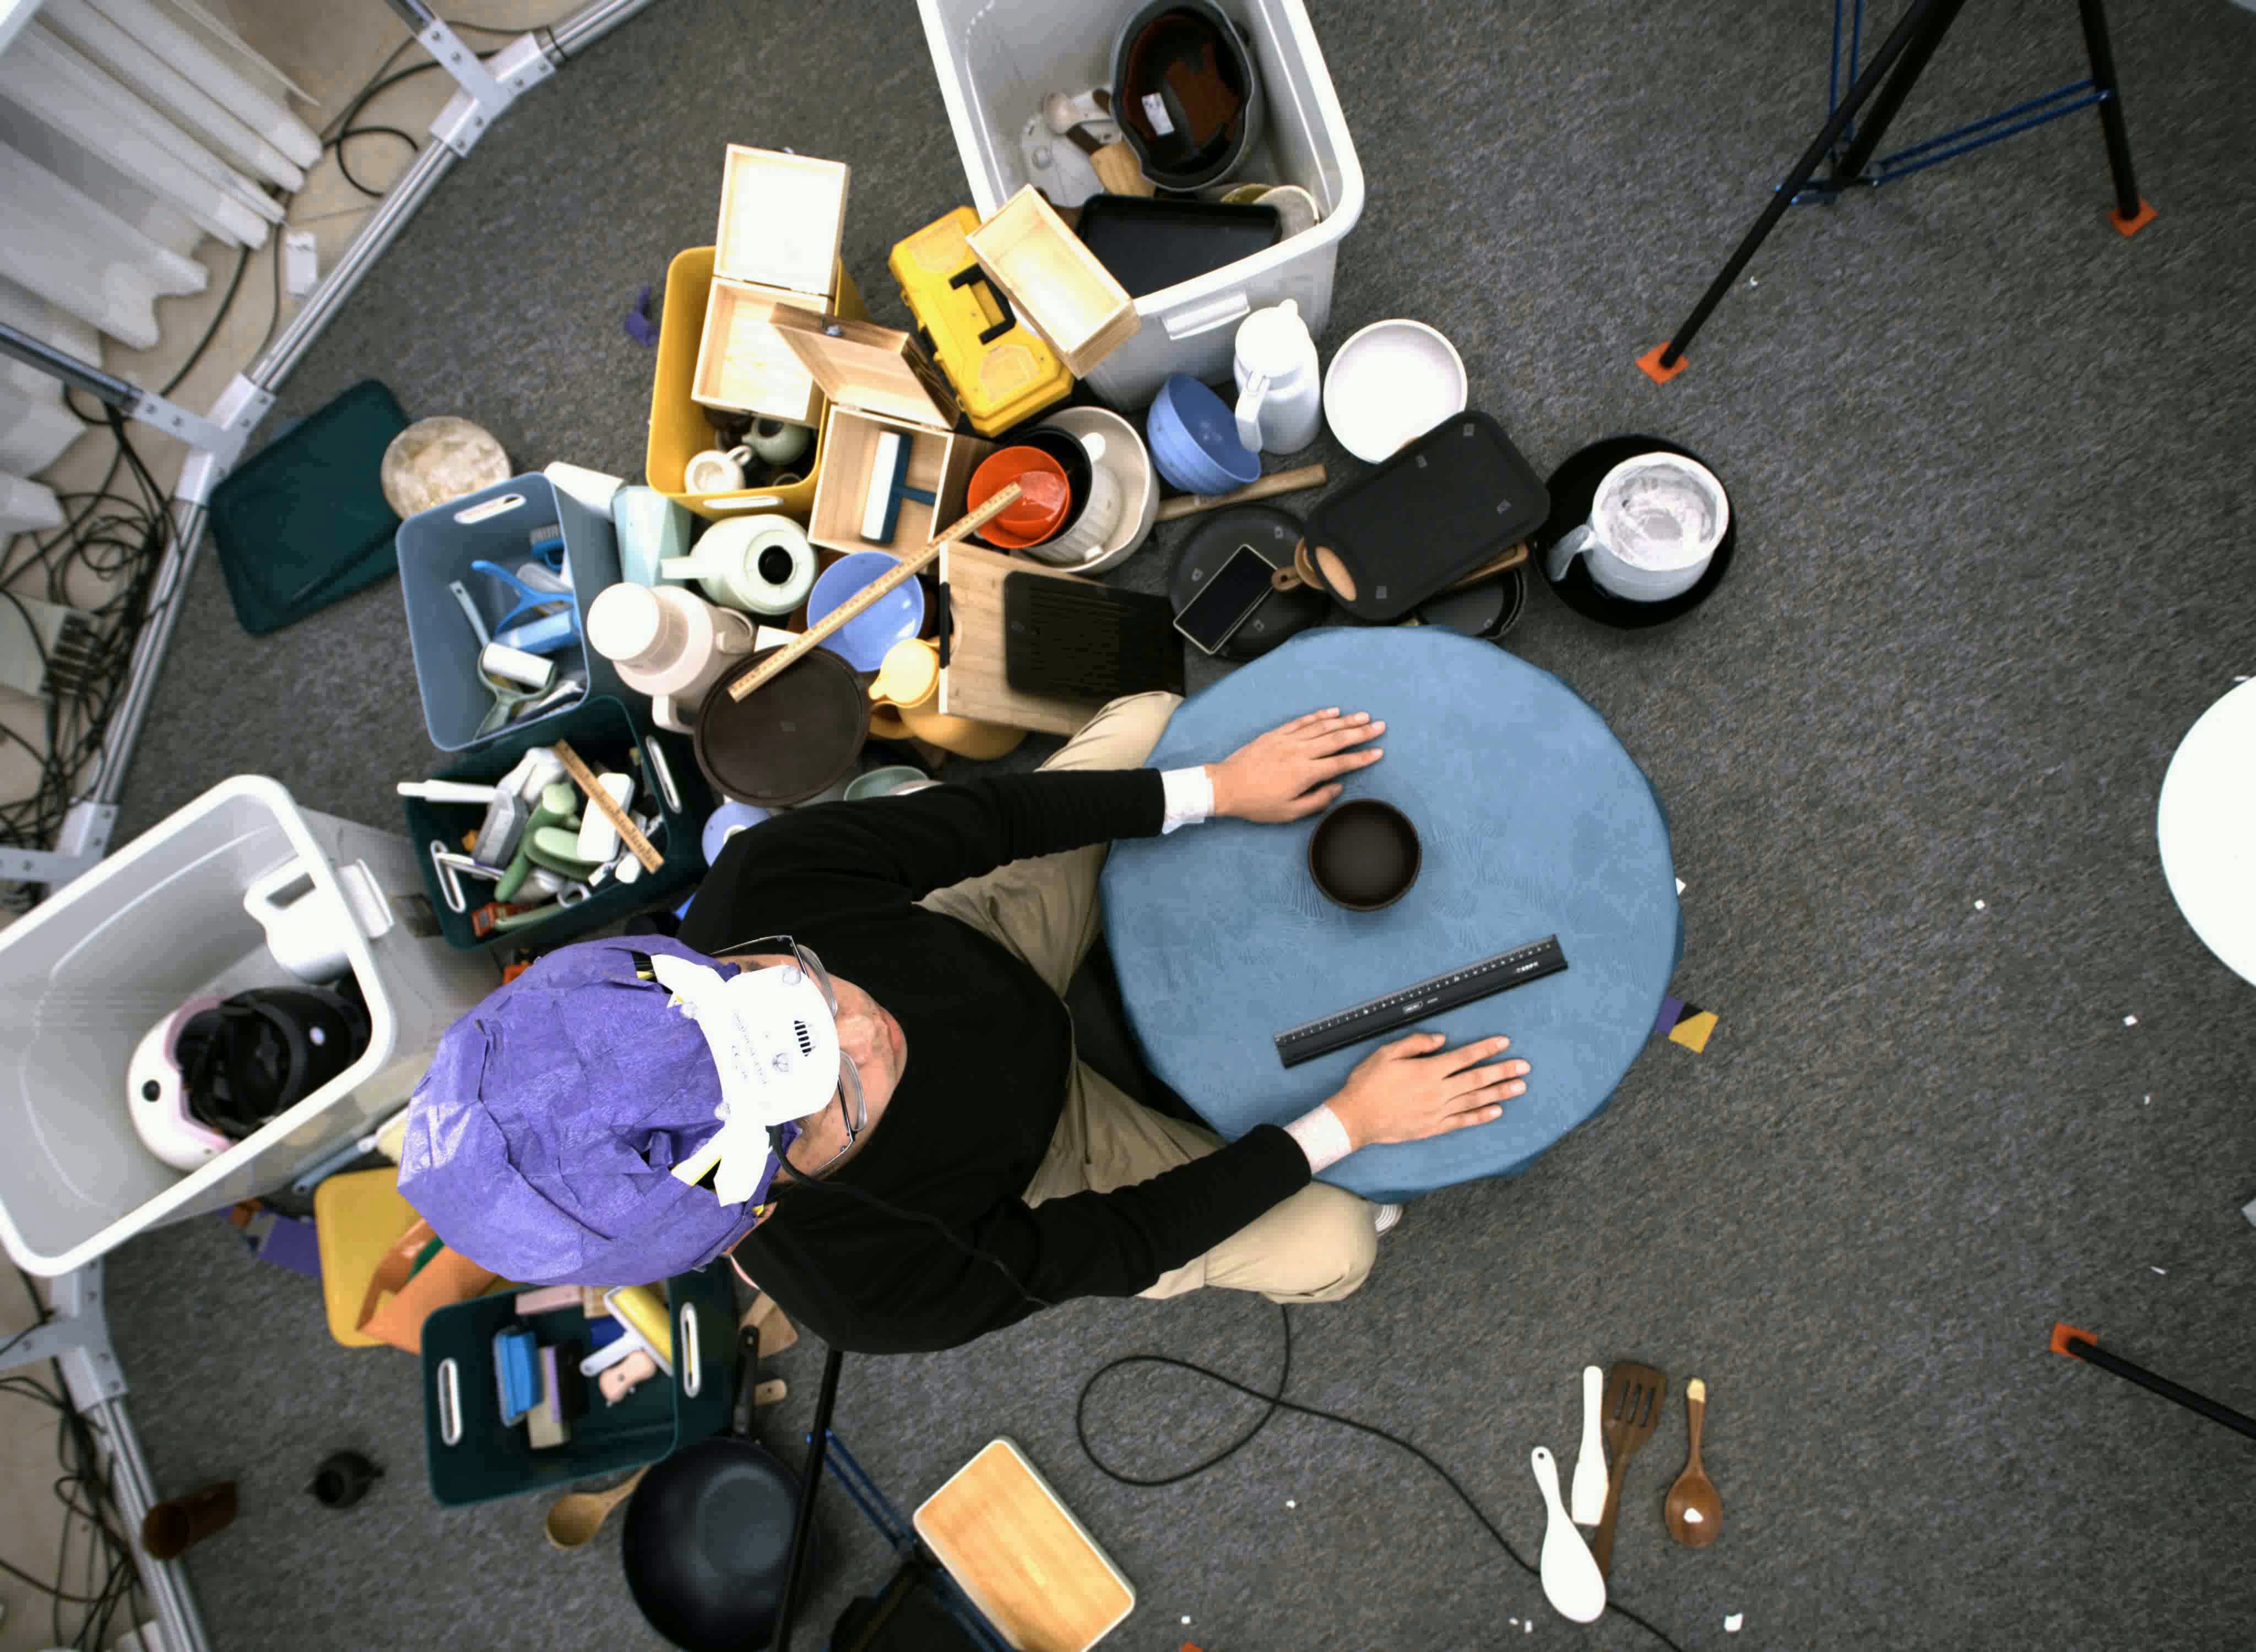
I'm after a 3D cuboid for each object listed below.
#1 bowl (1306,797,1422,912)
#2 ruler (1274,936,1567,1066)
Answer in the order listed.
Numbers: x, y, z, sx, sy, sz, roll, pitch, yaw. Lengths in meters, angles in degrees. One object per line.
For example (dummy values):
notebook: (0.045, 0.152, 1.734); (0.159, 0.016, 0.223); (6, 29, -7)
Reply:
bowl: (0.244, 0.030, 1.430); (0.118, 0.070, 0.117); (-1, 85, 10)
ruler: (0.303, 0.181, 1.440); (0.314, 0.017, 0.039); (-21, 79, 9)
